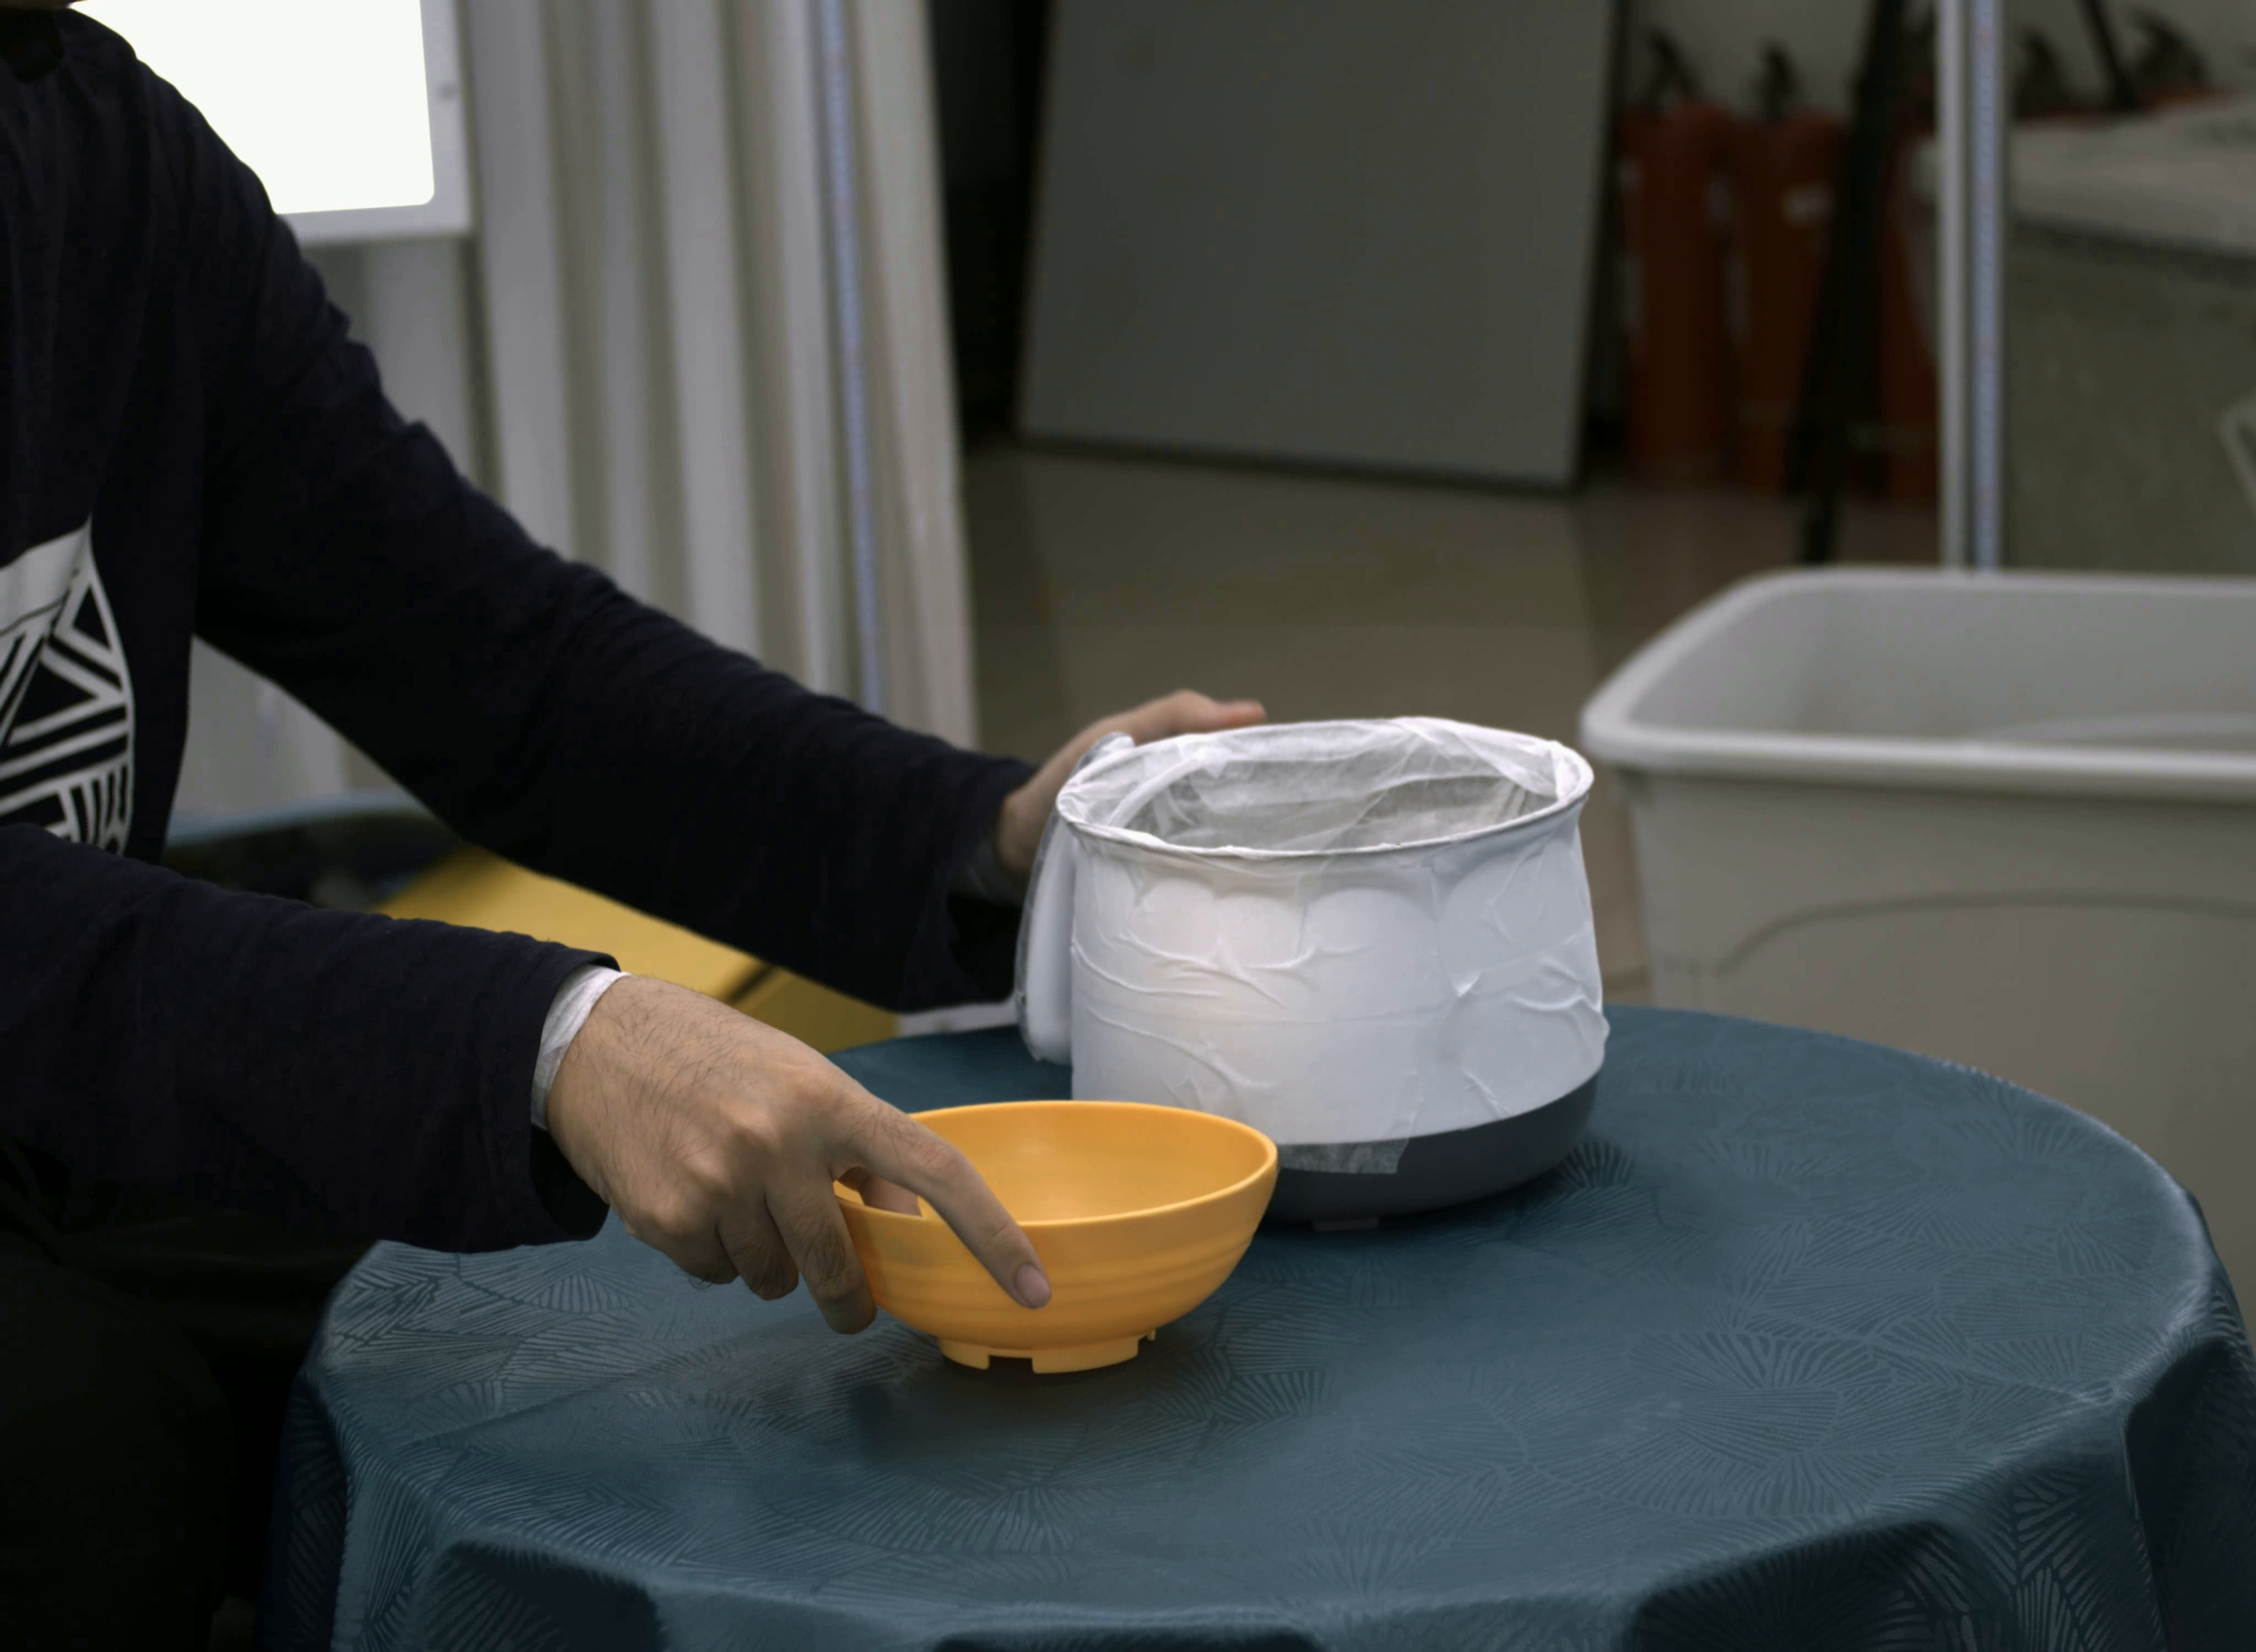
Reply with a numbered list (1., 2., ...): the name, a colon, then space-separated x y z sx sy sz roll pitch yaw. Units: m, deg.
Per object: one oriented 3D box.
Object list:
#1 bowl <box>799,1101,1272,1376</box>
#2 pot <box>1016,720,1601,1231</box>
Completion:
1. bowl: -0.027 0.128 1.624 0.143 0.061 0.145 -3 11 0
2. pot: 0.048 0.043 1.789 0.175 0.138 0.236 -13 16 -43
